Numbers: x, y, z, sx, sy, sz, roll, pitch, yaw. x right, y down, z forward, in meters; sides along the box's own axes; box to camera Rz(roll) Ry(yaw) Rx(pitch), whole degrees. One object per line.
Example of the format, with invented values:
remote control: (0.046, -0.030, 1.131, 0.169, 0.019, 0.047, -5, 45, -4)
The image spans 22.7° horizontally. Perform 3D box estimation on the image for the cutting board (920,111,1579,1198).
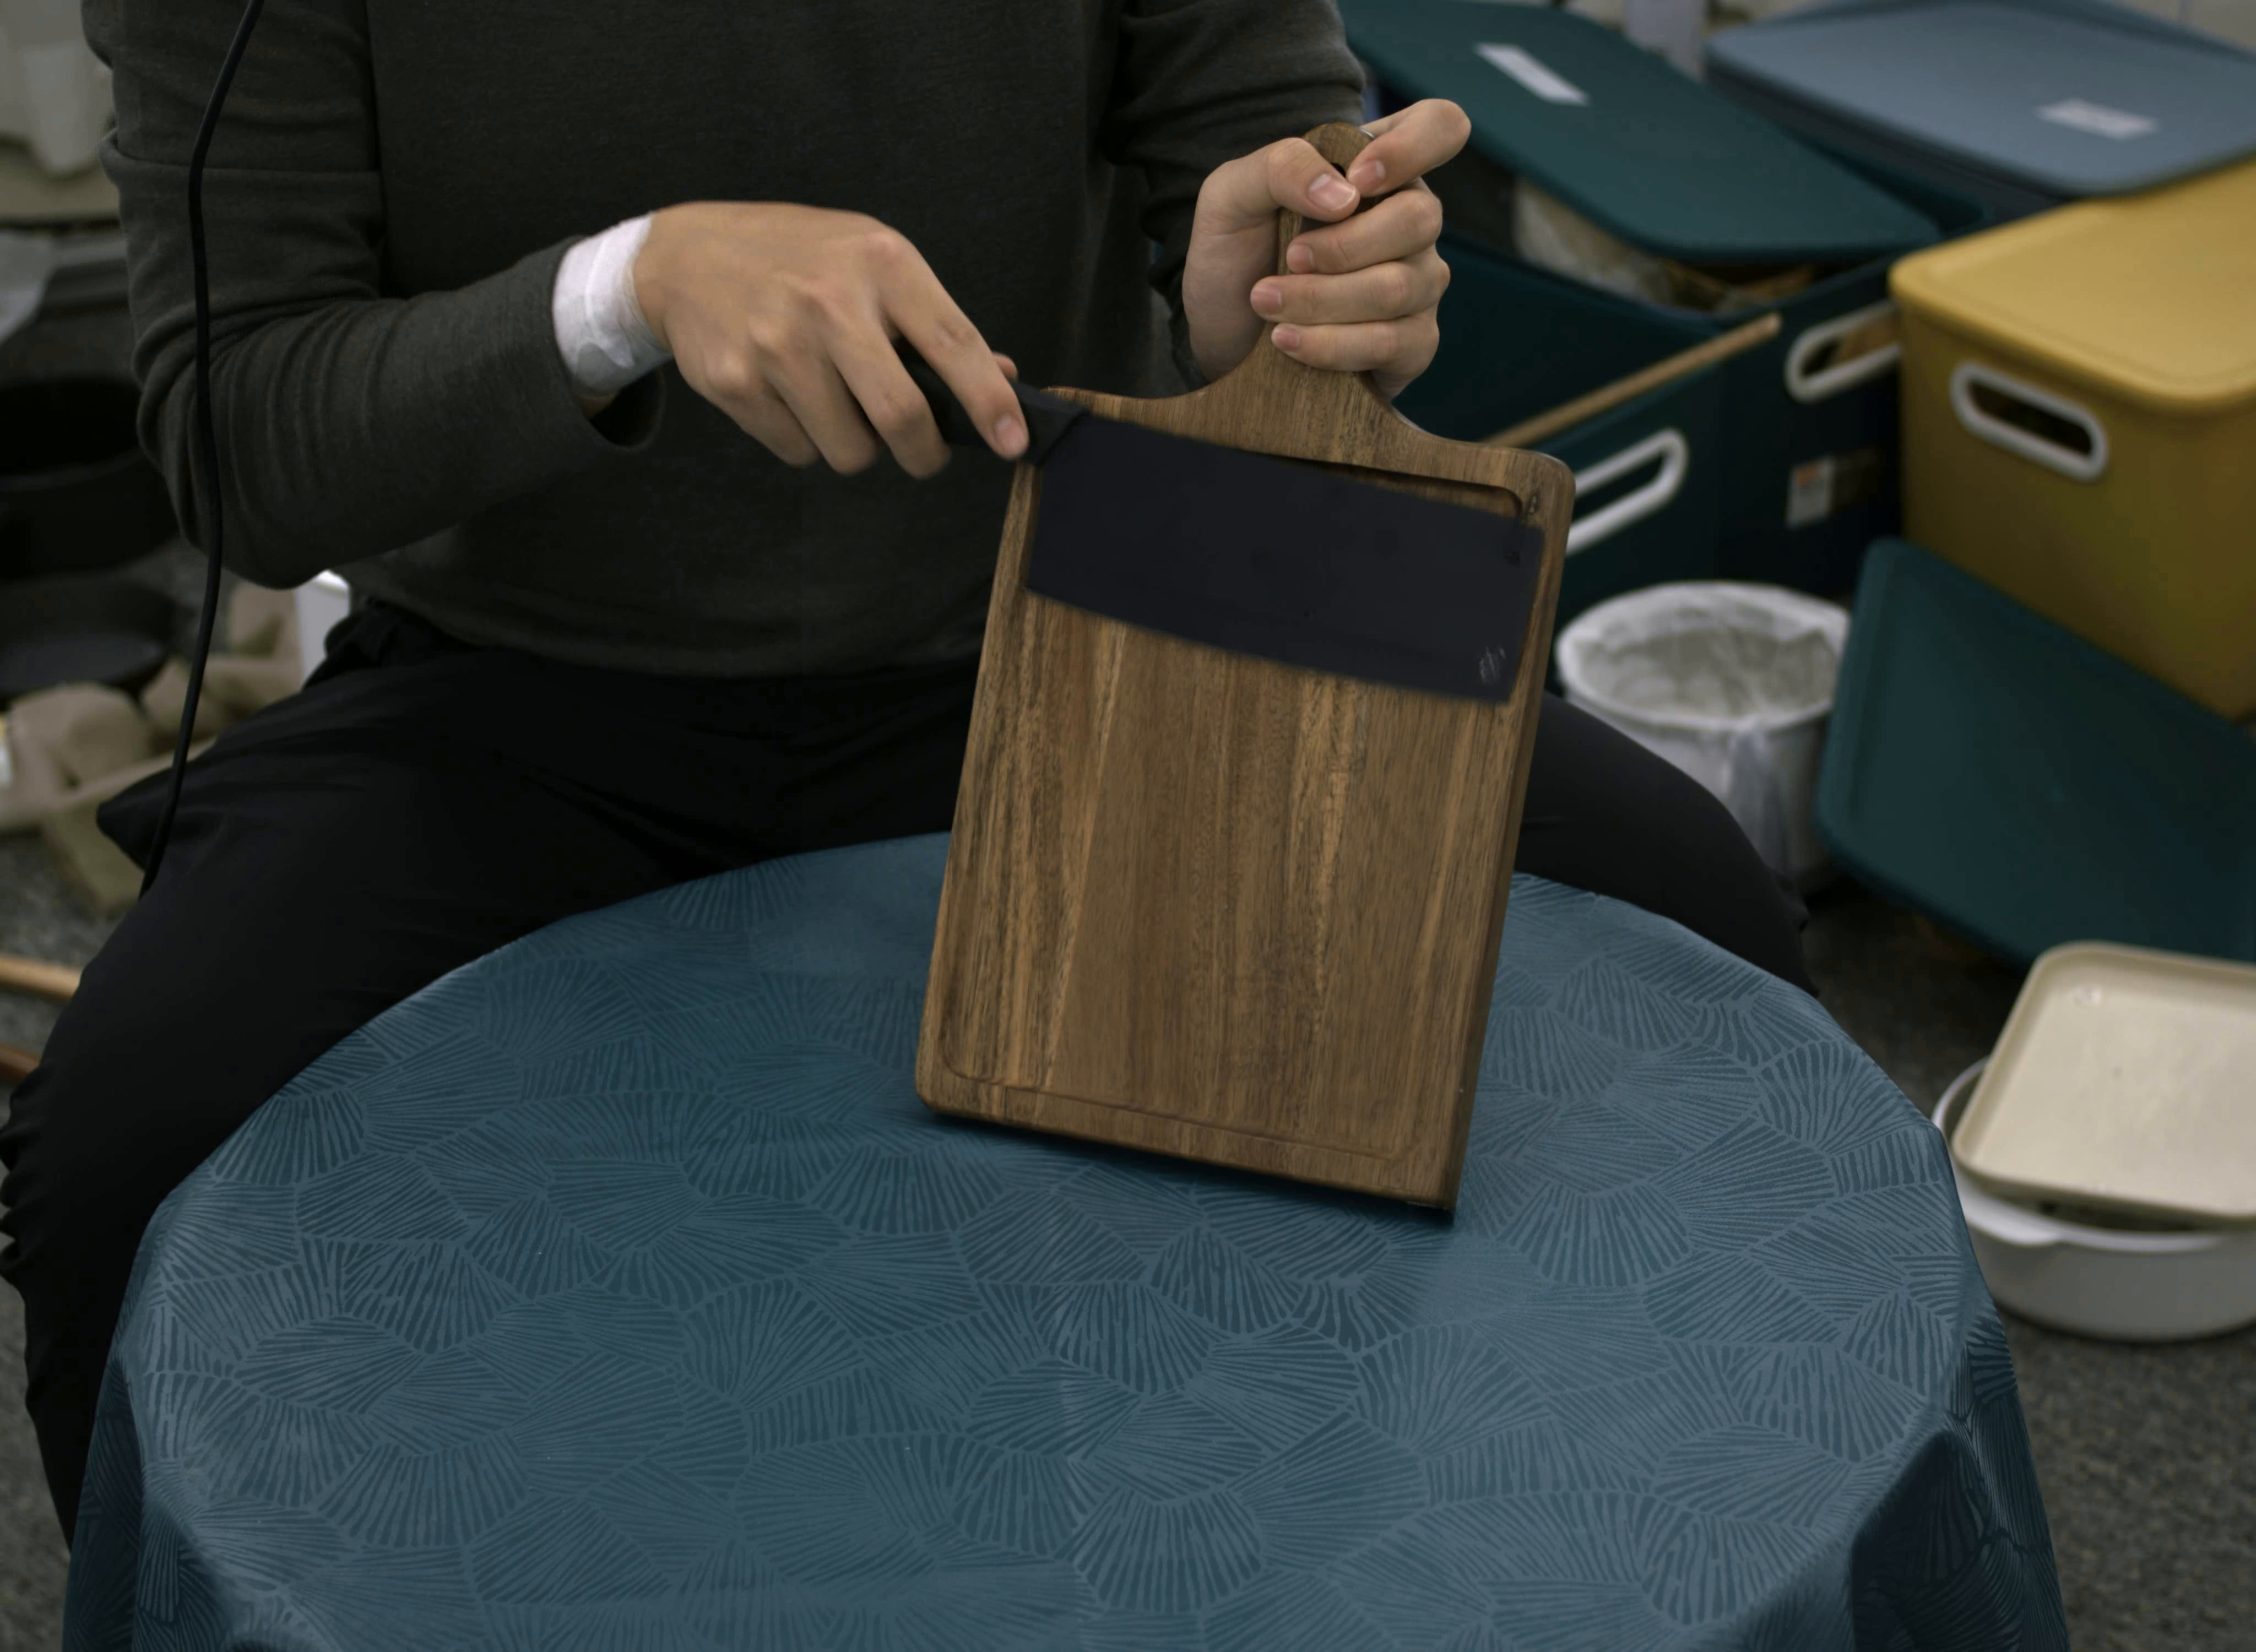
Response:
cutting board: (0.046, -0.063, 1.880, 0.200, 0.354, 0.023, 8, -3, 22)

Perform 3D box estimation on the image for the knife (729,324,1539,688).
knife: (-0.003, -0.112, 1.889, 0.301, 0.081, 0.021, 20, 9, 22)
